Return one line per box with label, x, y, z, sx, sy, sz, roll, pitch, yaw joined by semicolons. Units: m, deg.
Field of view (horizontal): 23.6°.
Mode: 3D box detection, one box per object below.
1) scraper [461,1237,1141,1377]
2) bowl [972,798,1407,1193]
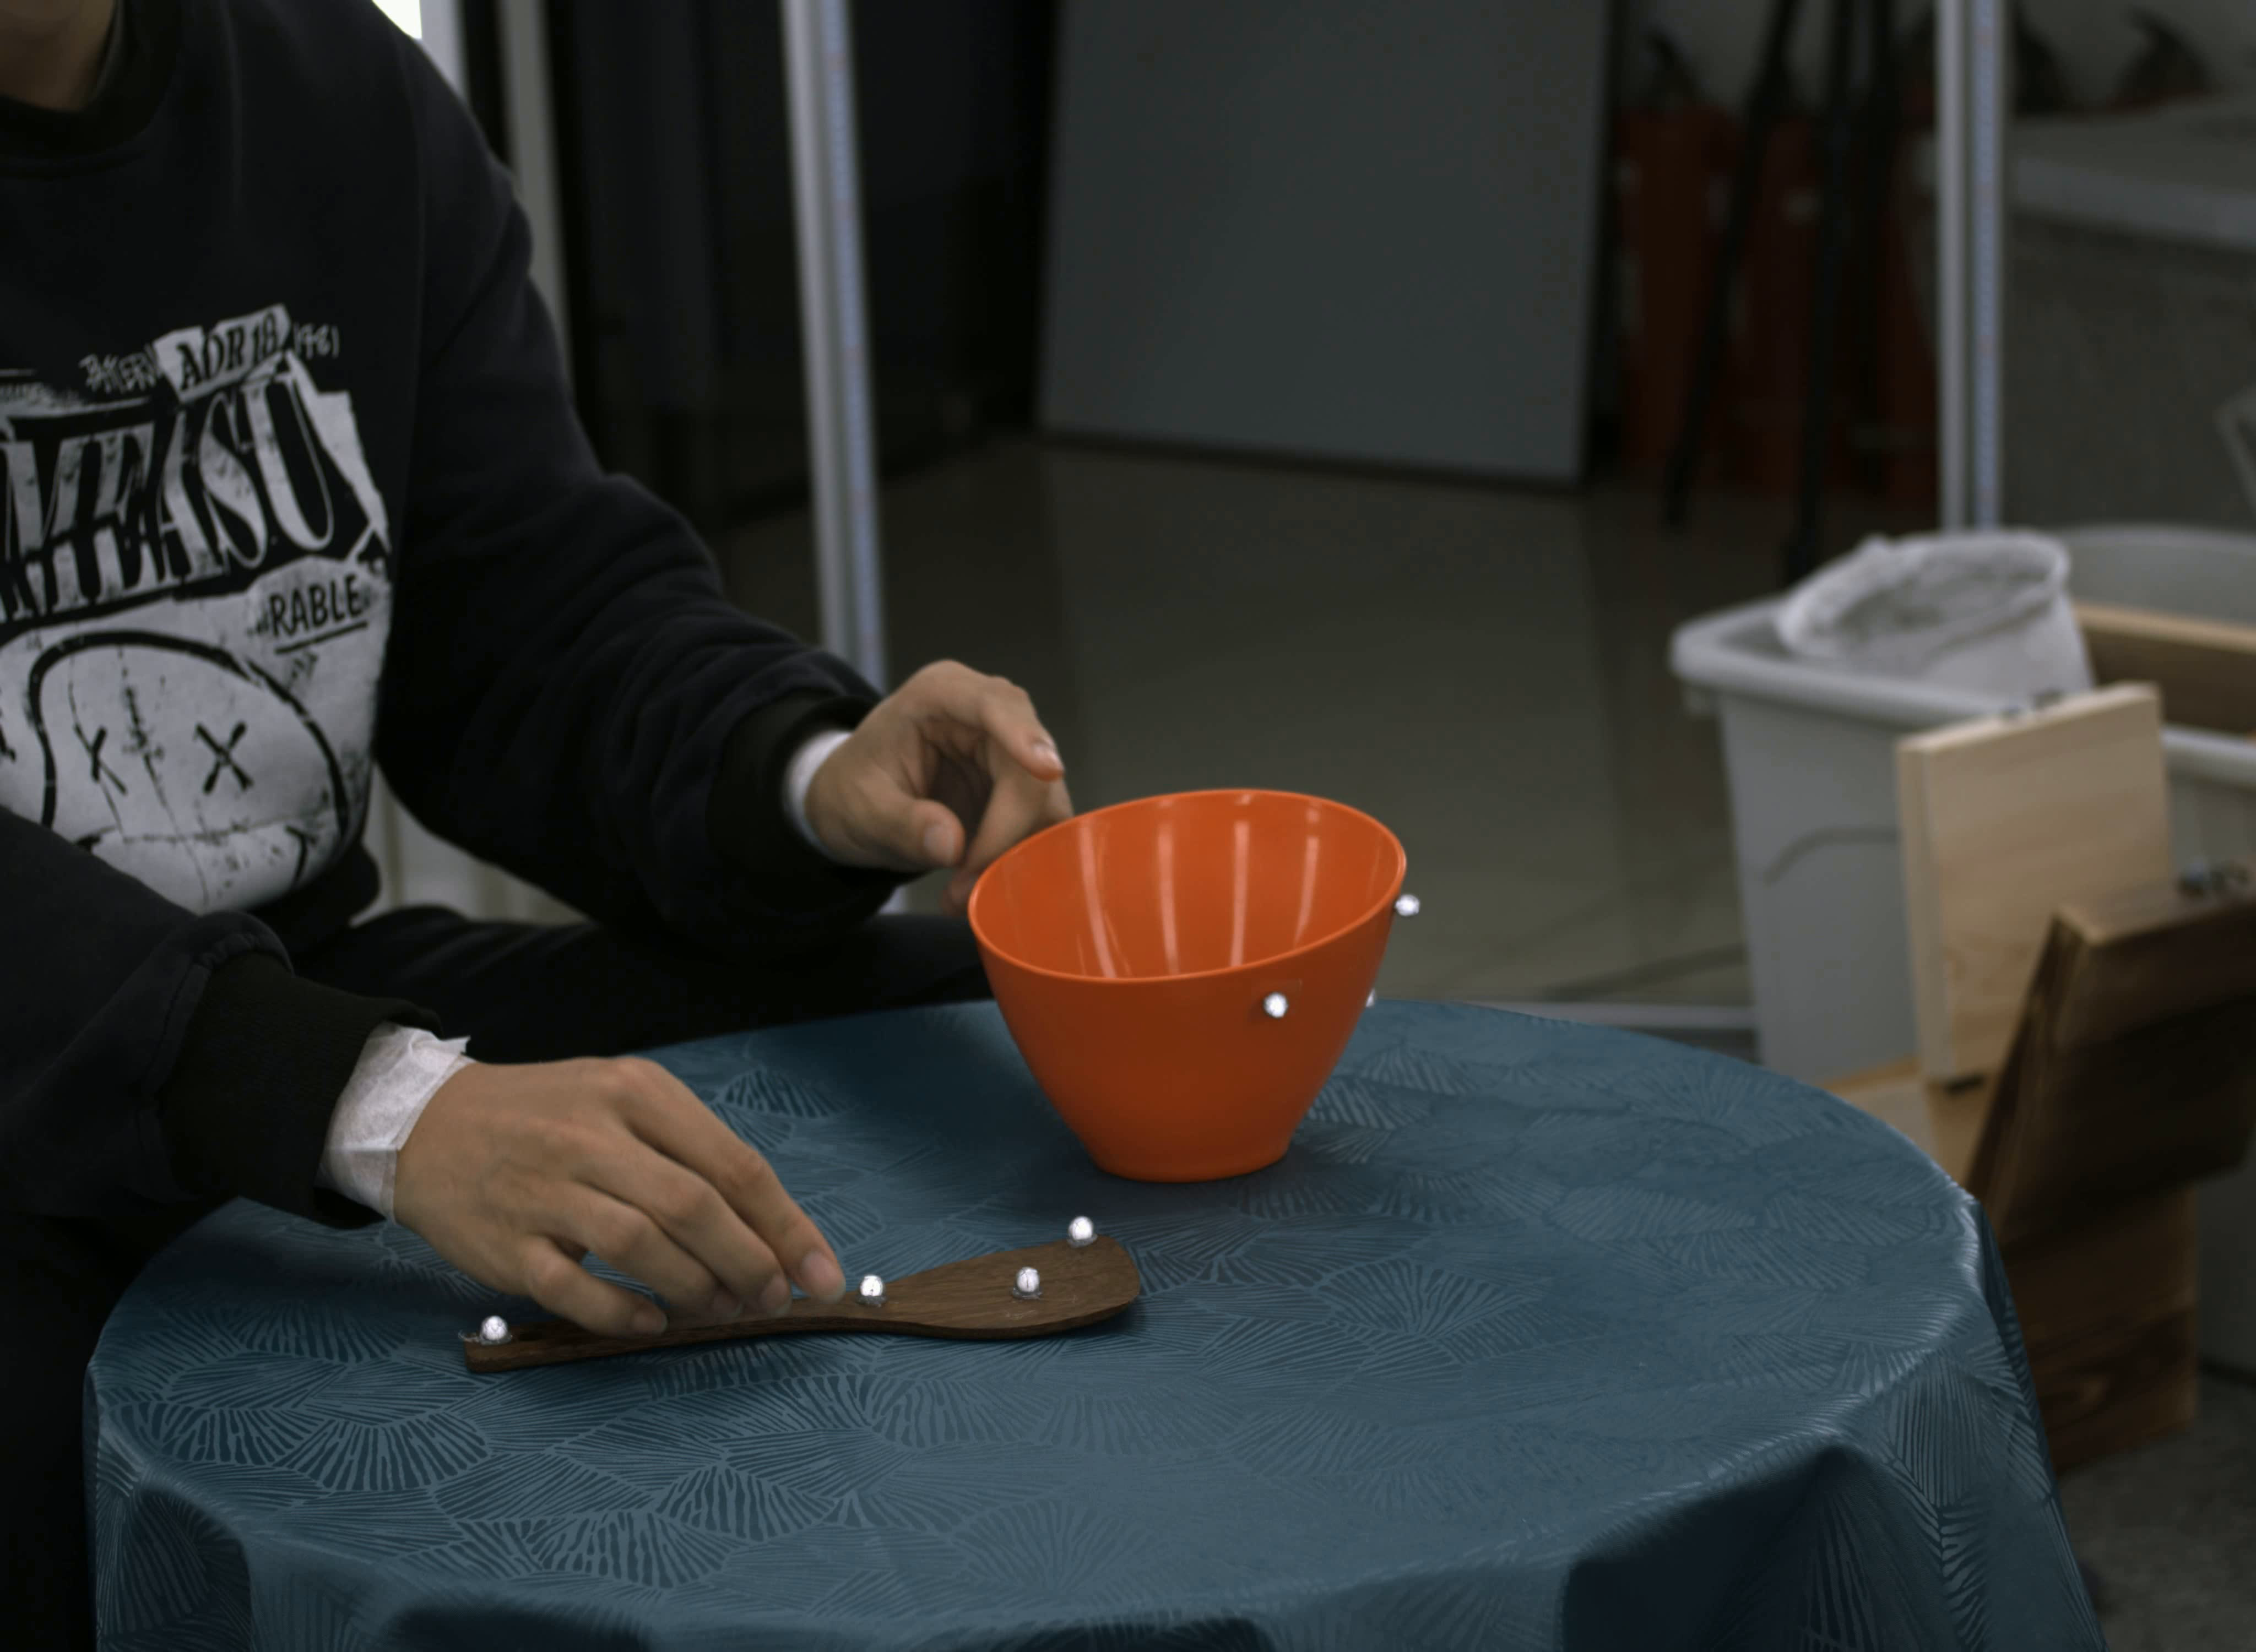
scraper;-0.100;0.152;1.660;0.208;0.011;0.076;-6;13;-5
bowl;0.023;0.060;1.803;0.146;0.106;0.148;-4;14;0
